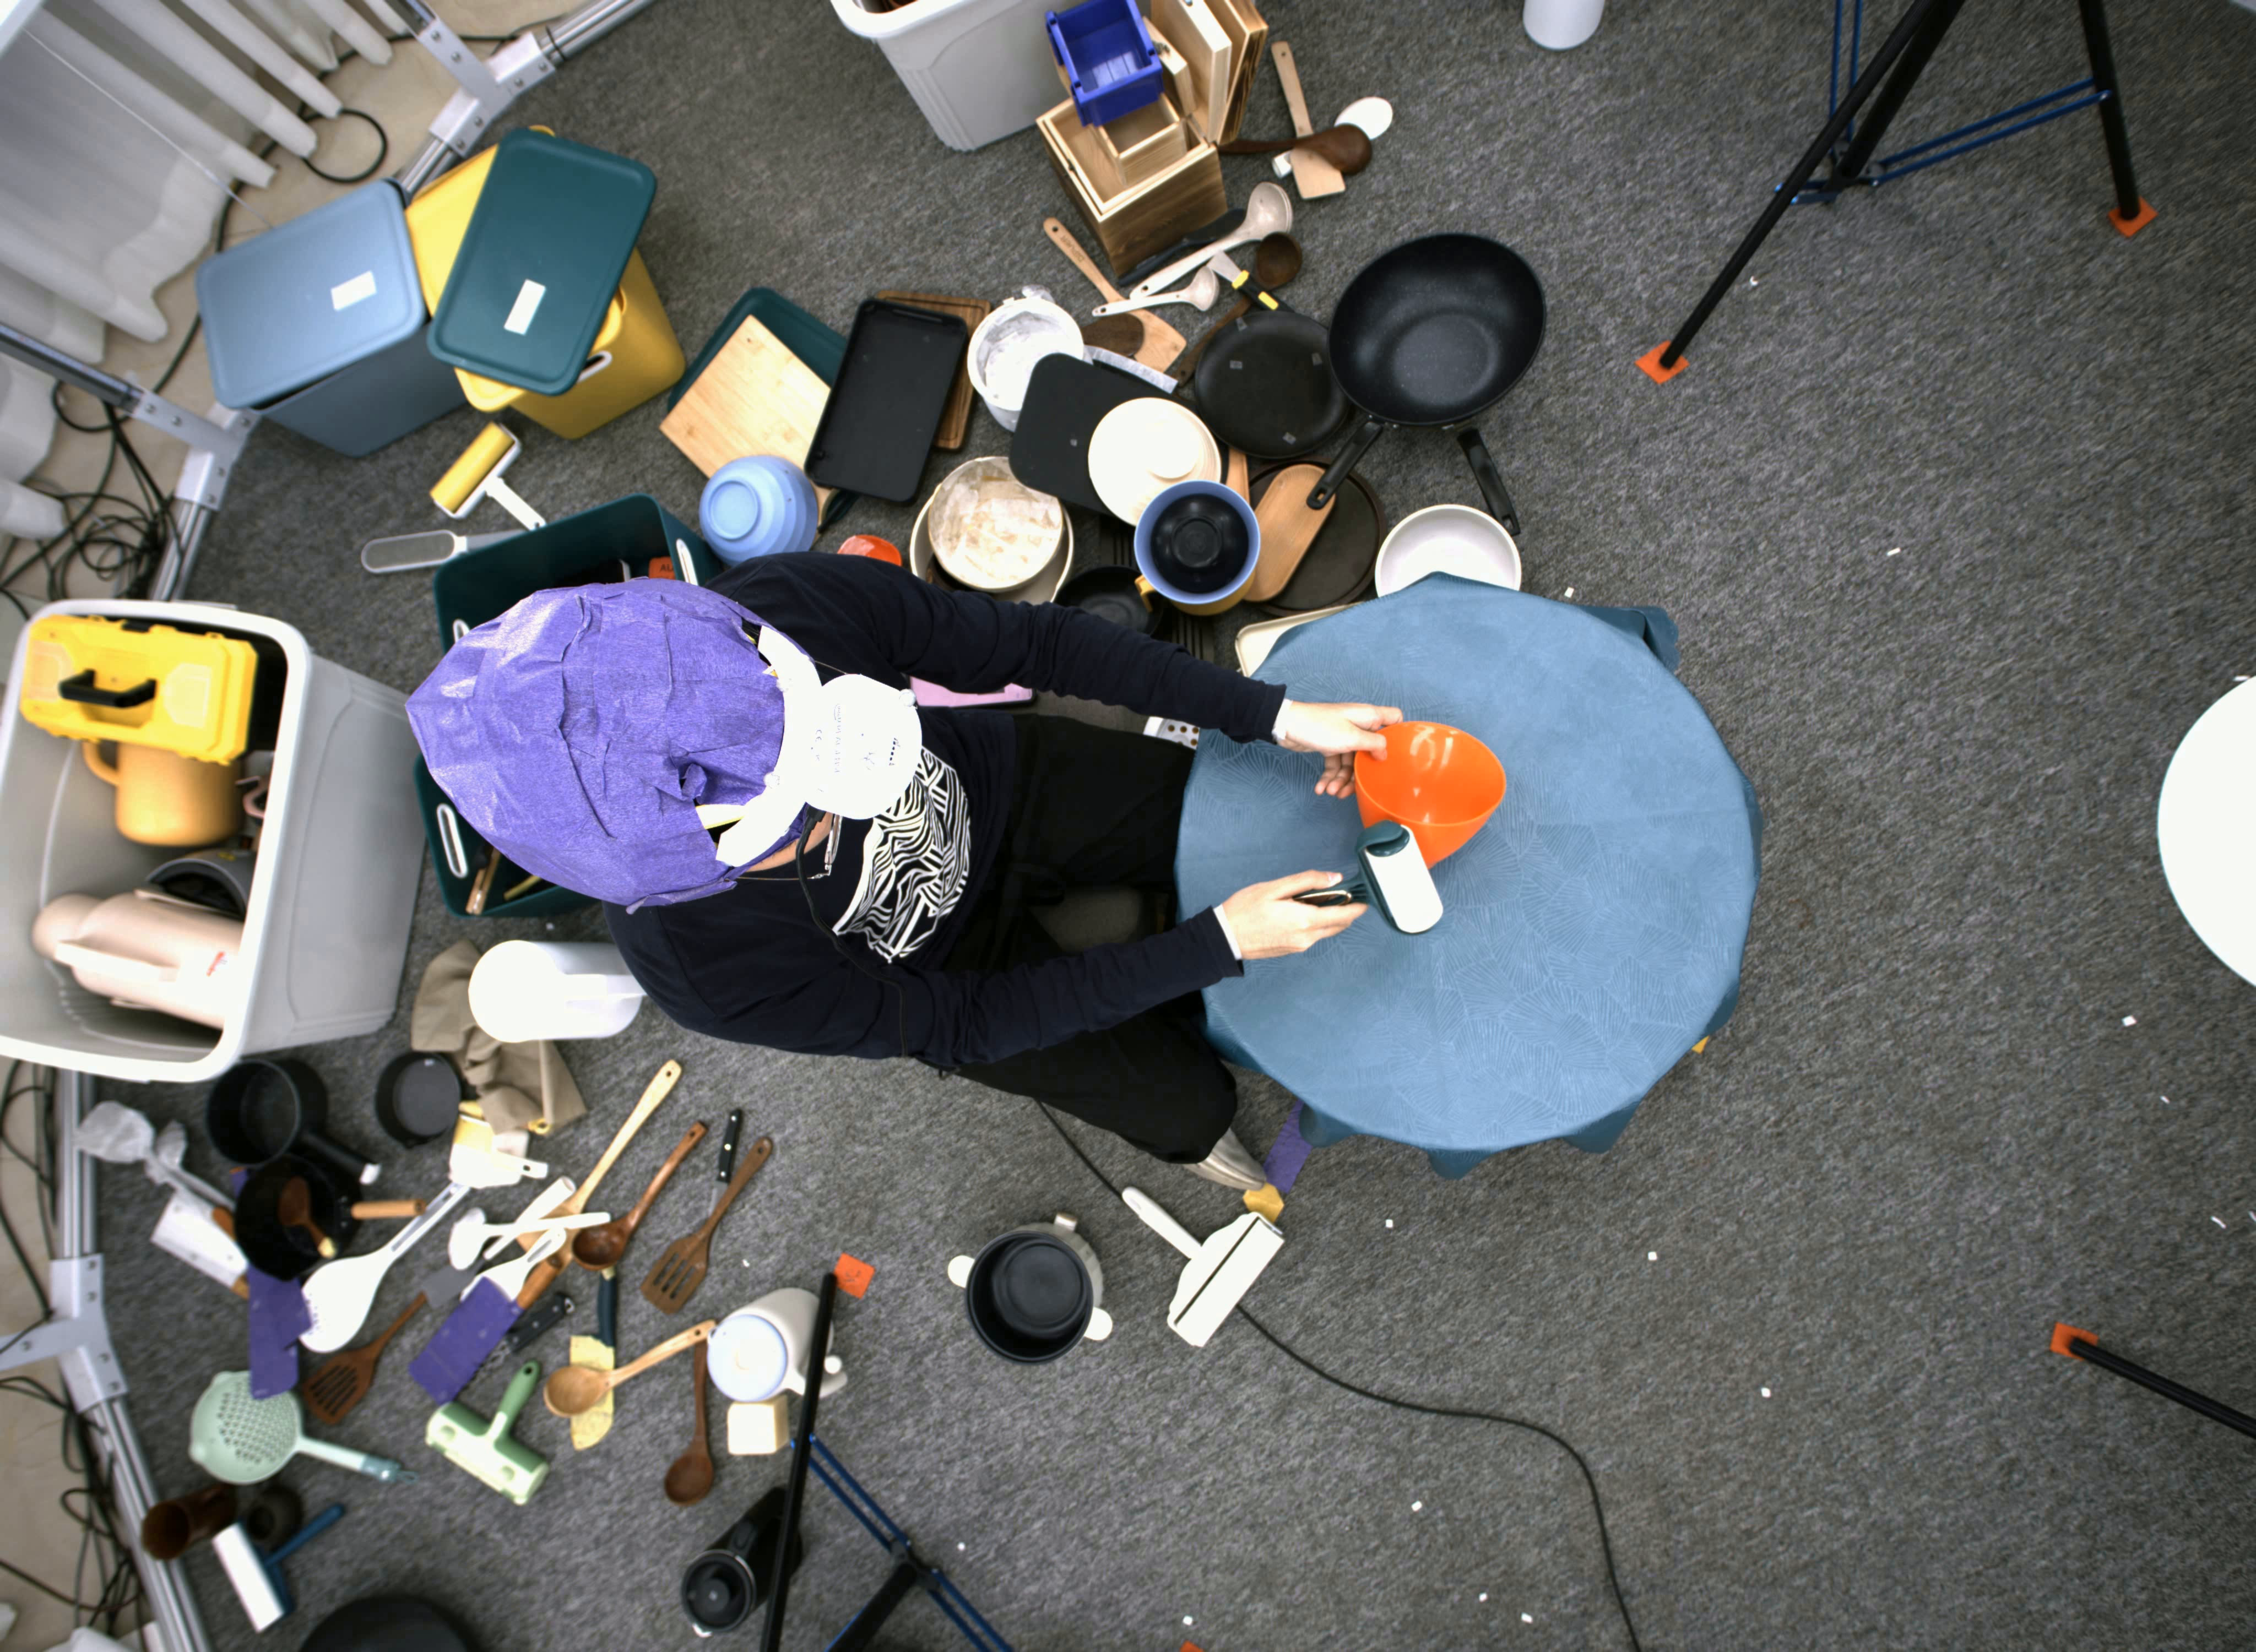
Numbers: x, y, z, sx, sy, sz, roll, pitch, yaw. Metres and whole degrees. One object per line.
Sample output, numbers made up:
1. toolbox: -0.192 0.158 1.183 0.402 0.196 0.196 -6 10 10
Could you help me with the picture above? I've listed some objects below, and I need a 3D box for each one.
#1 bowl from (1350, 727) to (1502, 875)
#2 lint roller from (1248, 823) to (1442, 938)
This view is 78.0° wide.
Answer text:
1. bowl: 0.289 -0.018 1.370 0.148 0.144 0.107 13 128 11
2. lint roller: 0.200 0.071 1.332 0.182 0.047 0.136 -19 126 18
